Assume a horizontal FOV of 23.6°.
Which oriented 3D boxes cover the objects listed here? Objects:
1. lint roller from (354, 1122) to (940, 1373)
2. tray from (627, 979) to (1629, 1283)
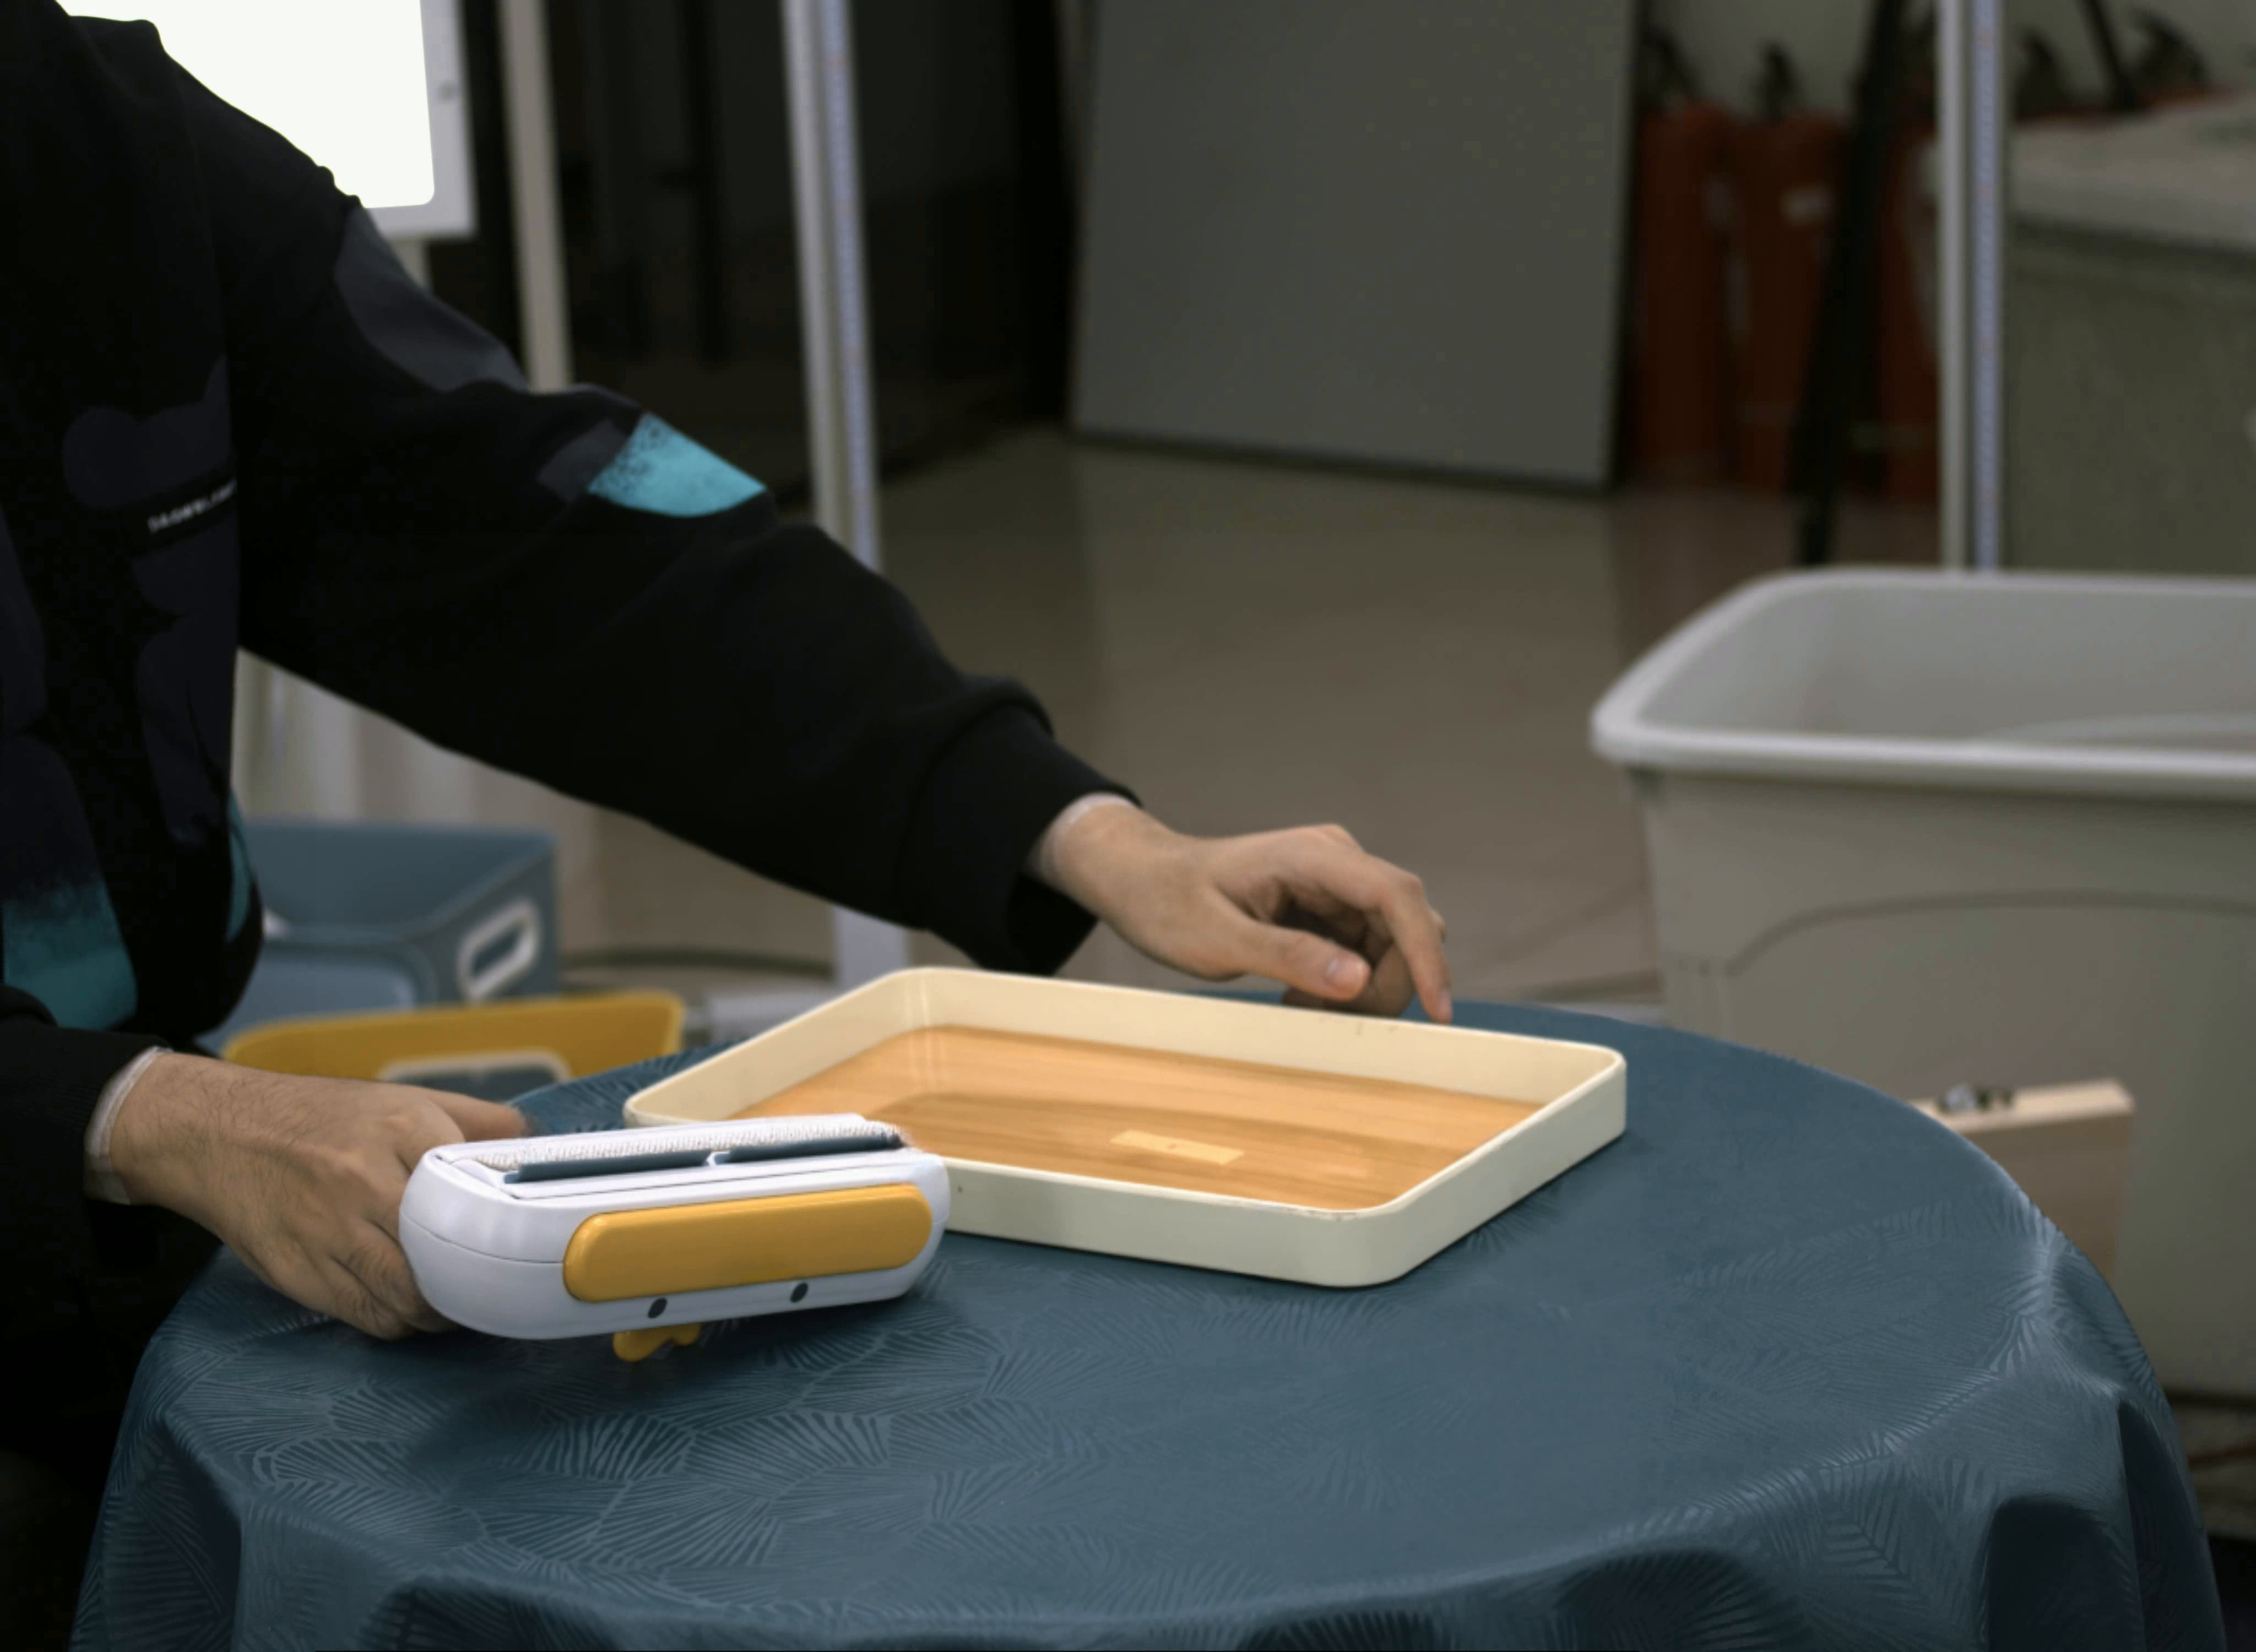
[{"bbox_3d":[-0.178,0.122,1.680,0.188,0.075,0.194,-7,10,-40],"label":"lint roller"},{"bbox_3d":[0.000,0.099,1.806,0.302,0.028,0.188,5,16,33],"label":"tray"}]
